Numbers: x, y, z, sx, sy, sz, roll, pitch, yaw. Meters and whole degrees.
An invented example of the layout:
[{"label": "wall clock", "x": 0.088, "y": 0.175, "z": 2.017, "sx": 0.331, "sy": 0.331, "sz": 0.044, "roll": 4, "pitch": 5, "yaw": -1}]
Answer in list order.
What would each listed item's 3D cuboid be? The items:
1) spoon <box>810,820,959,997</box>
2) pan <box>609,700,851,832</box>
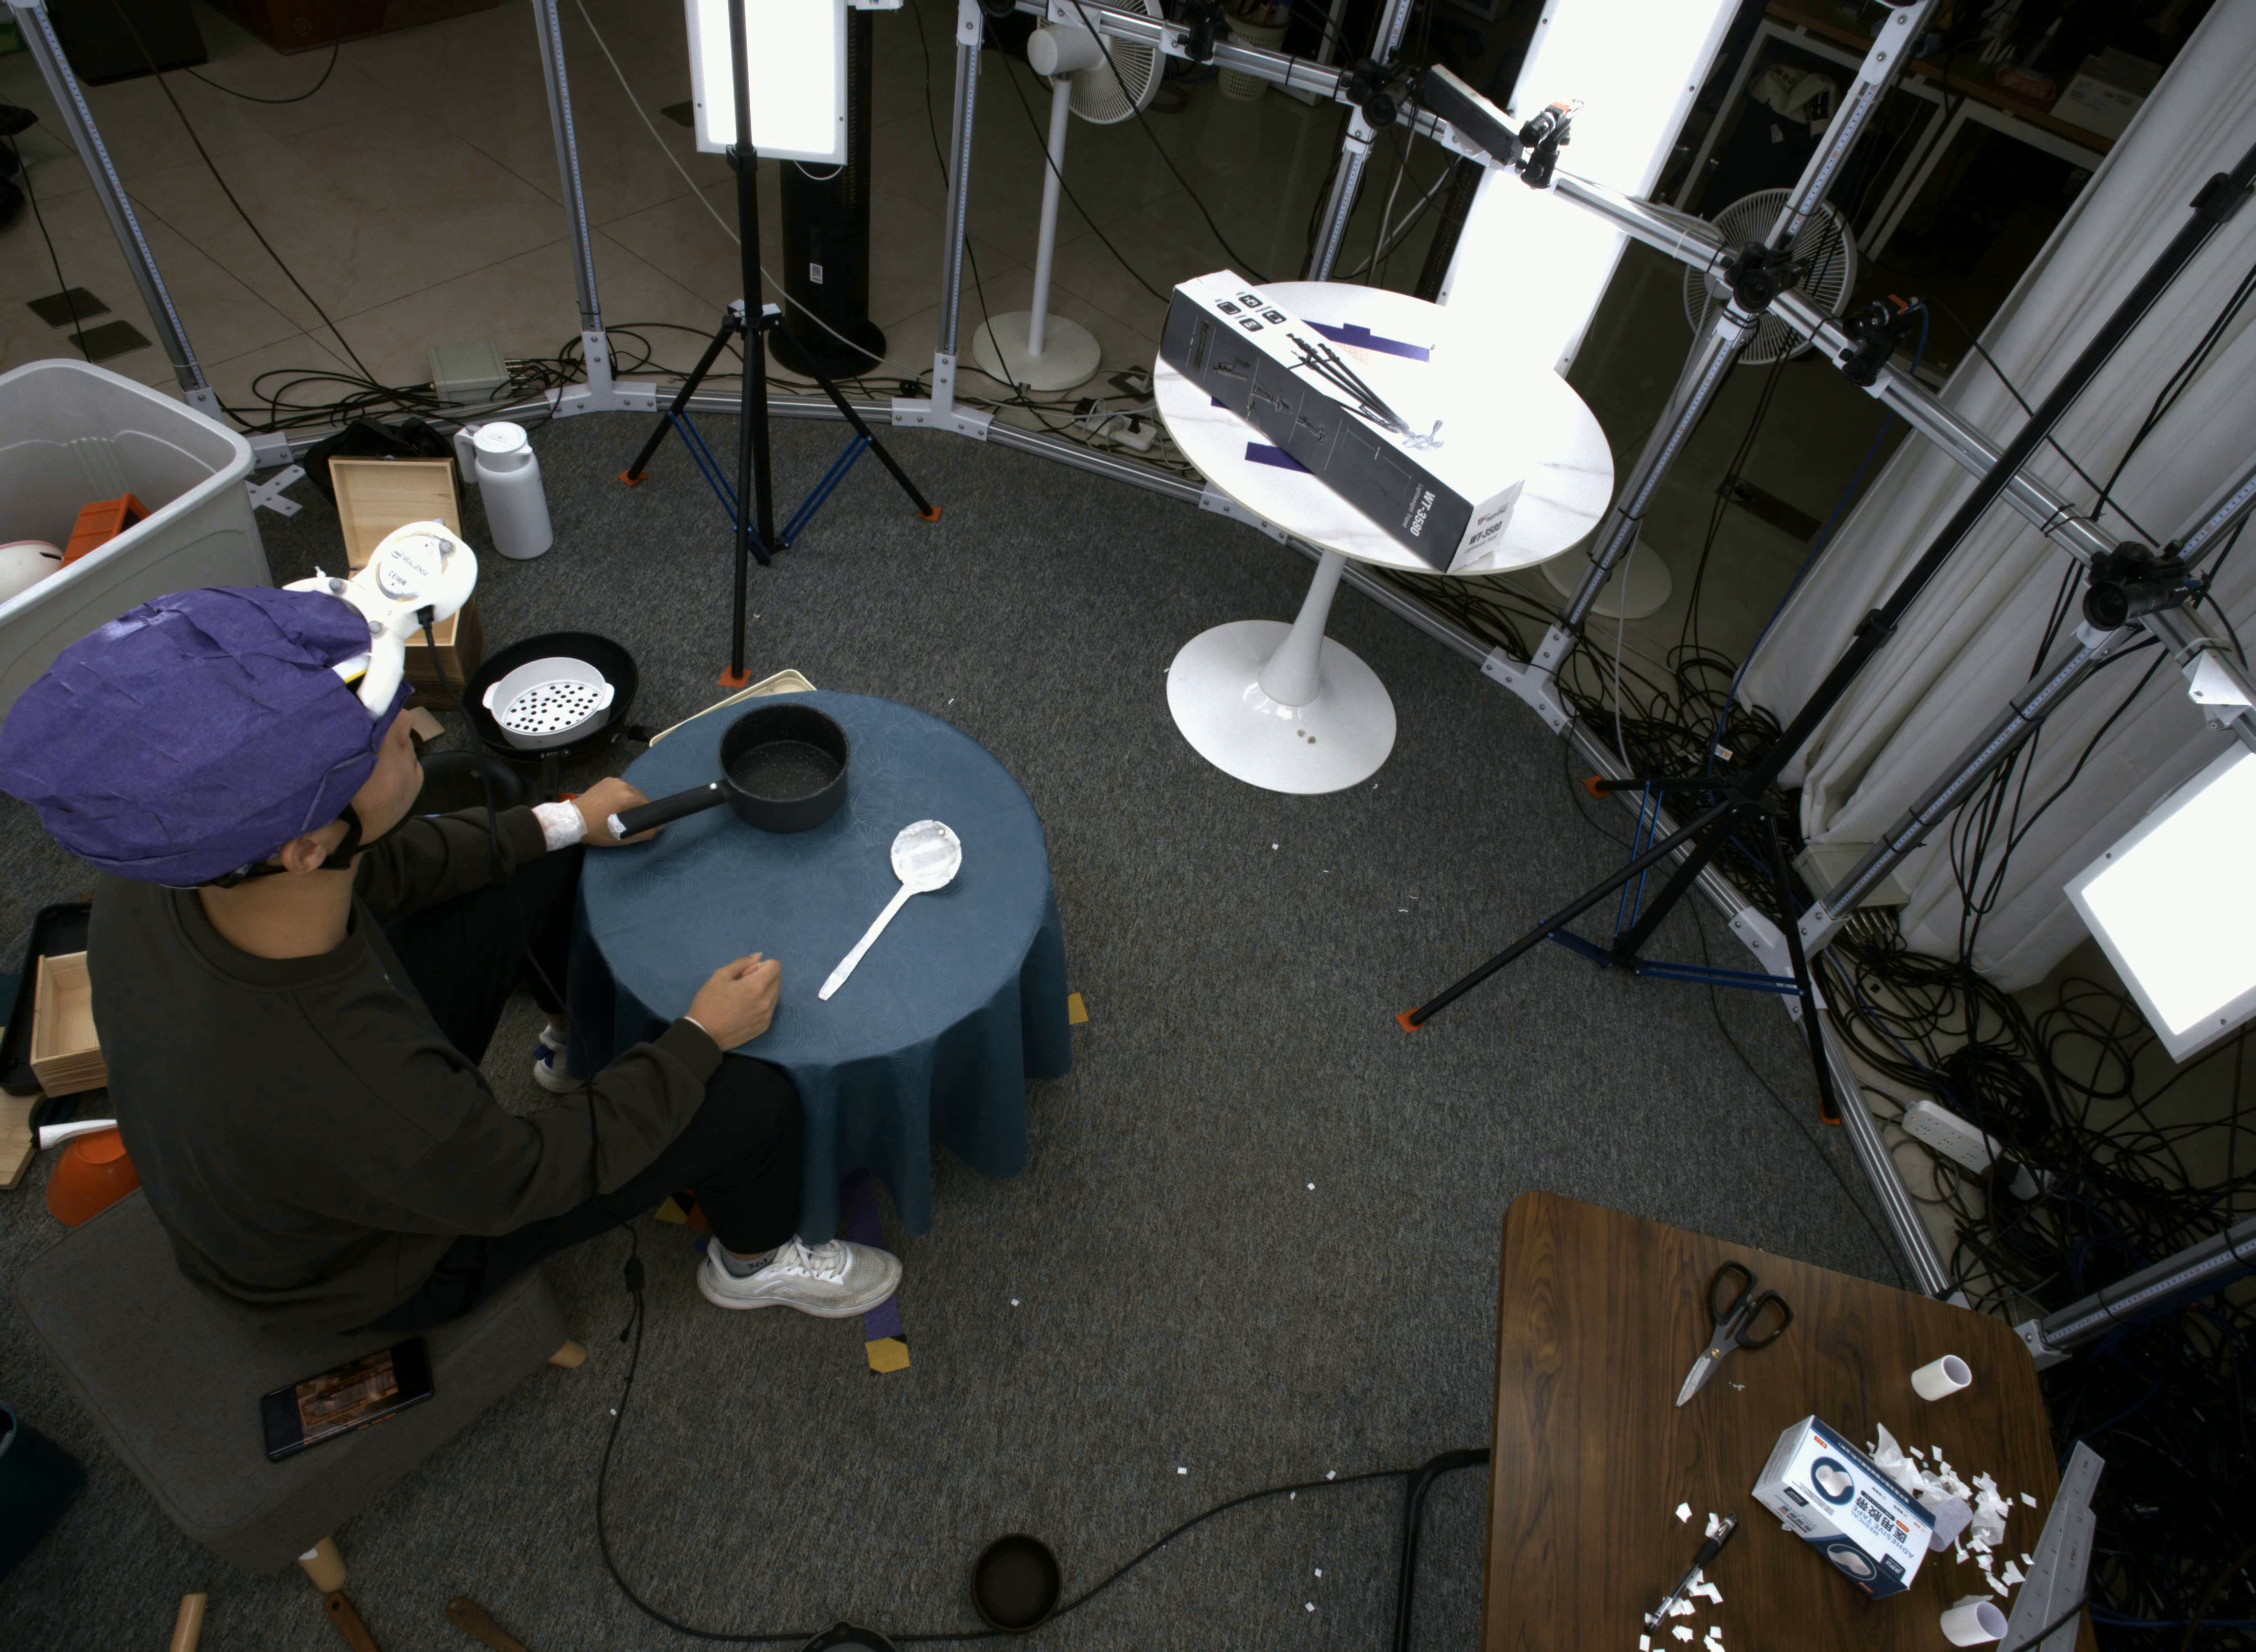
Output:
[{"label": "spoon", "x": -0.319, "y": 0.100, "z": 1.653, "sx": 0.099, "sy": 0.061, "sz": 0.276, "roll": 30, "pitch": 53, "yaw": 12}, {"label": "pan", "x": -0.519, "y": -0.049, "z": 1.693, "sx": 0.330, "sy": 0.088, "sz": 0.167, "roll": -26, "pitch": 62, "yaw": -30}]
